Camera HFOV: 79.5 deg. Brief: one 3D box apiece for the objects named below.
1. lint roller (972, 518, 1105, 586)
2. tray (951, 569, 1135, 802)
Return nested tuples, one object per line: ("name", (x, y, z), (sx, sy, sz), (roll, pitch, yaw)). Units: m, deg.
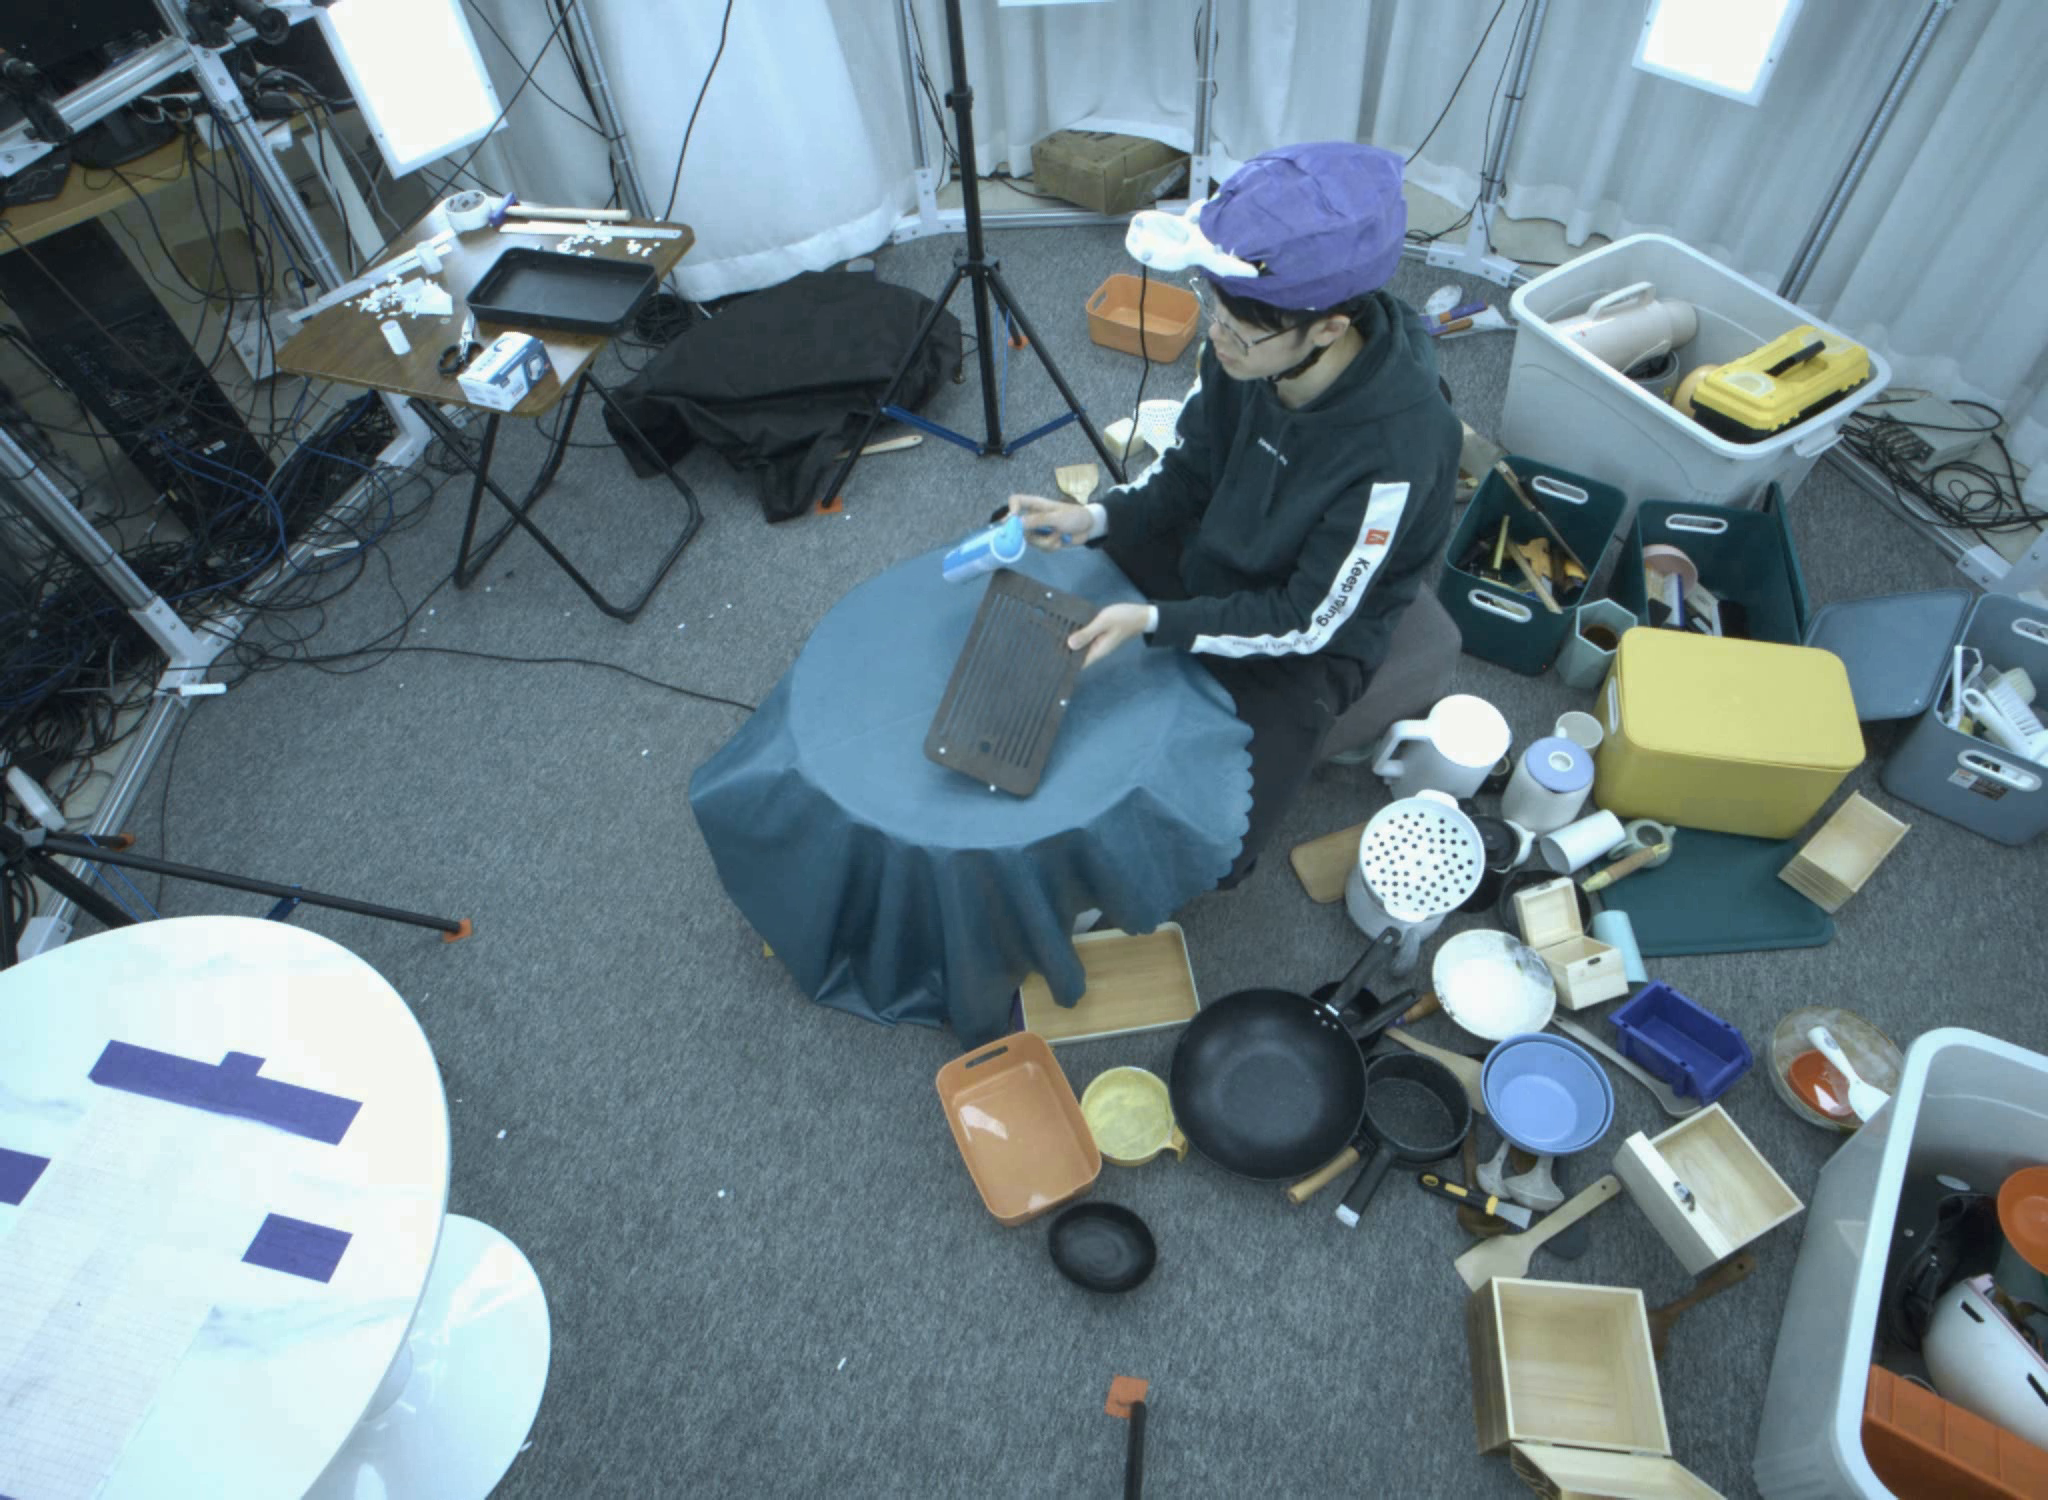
("lint roller", (0.032, -0.305, 1.824), (0.182, 0.225, 0.068), (-24, 97, -25))
("tray", (0.028, -0.093, 1.751), (0.171, 0.018, 0.305), (24, 79, -5))
